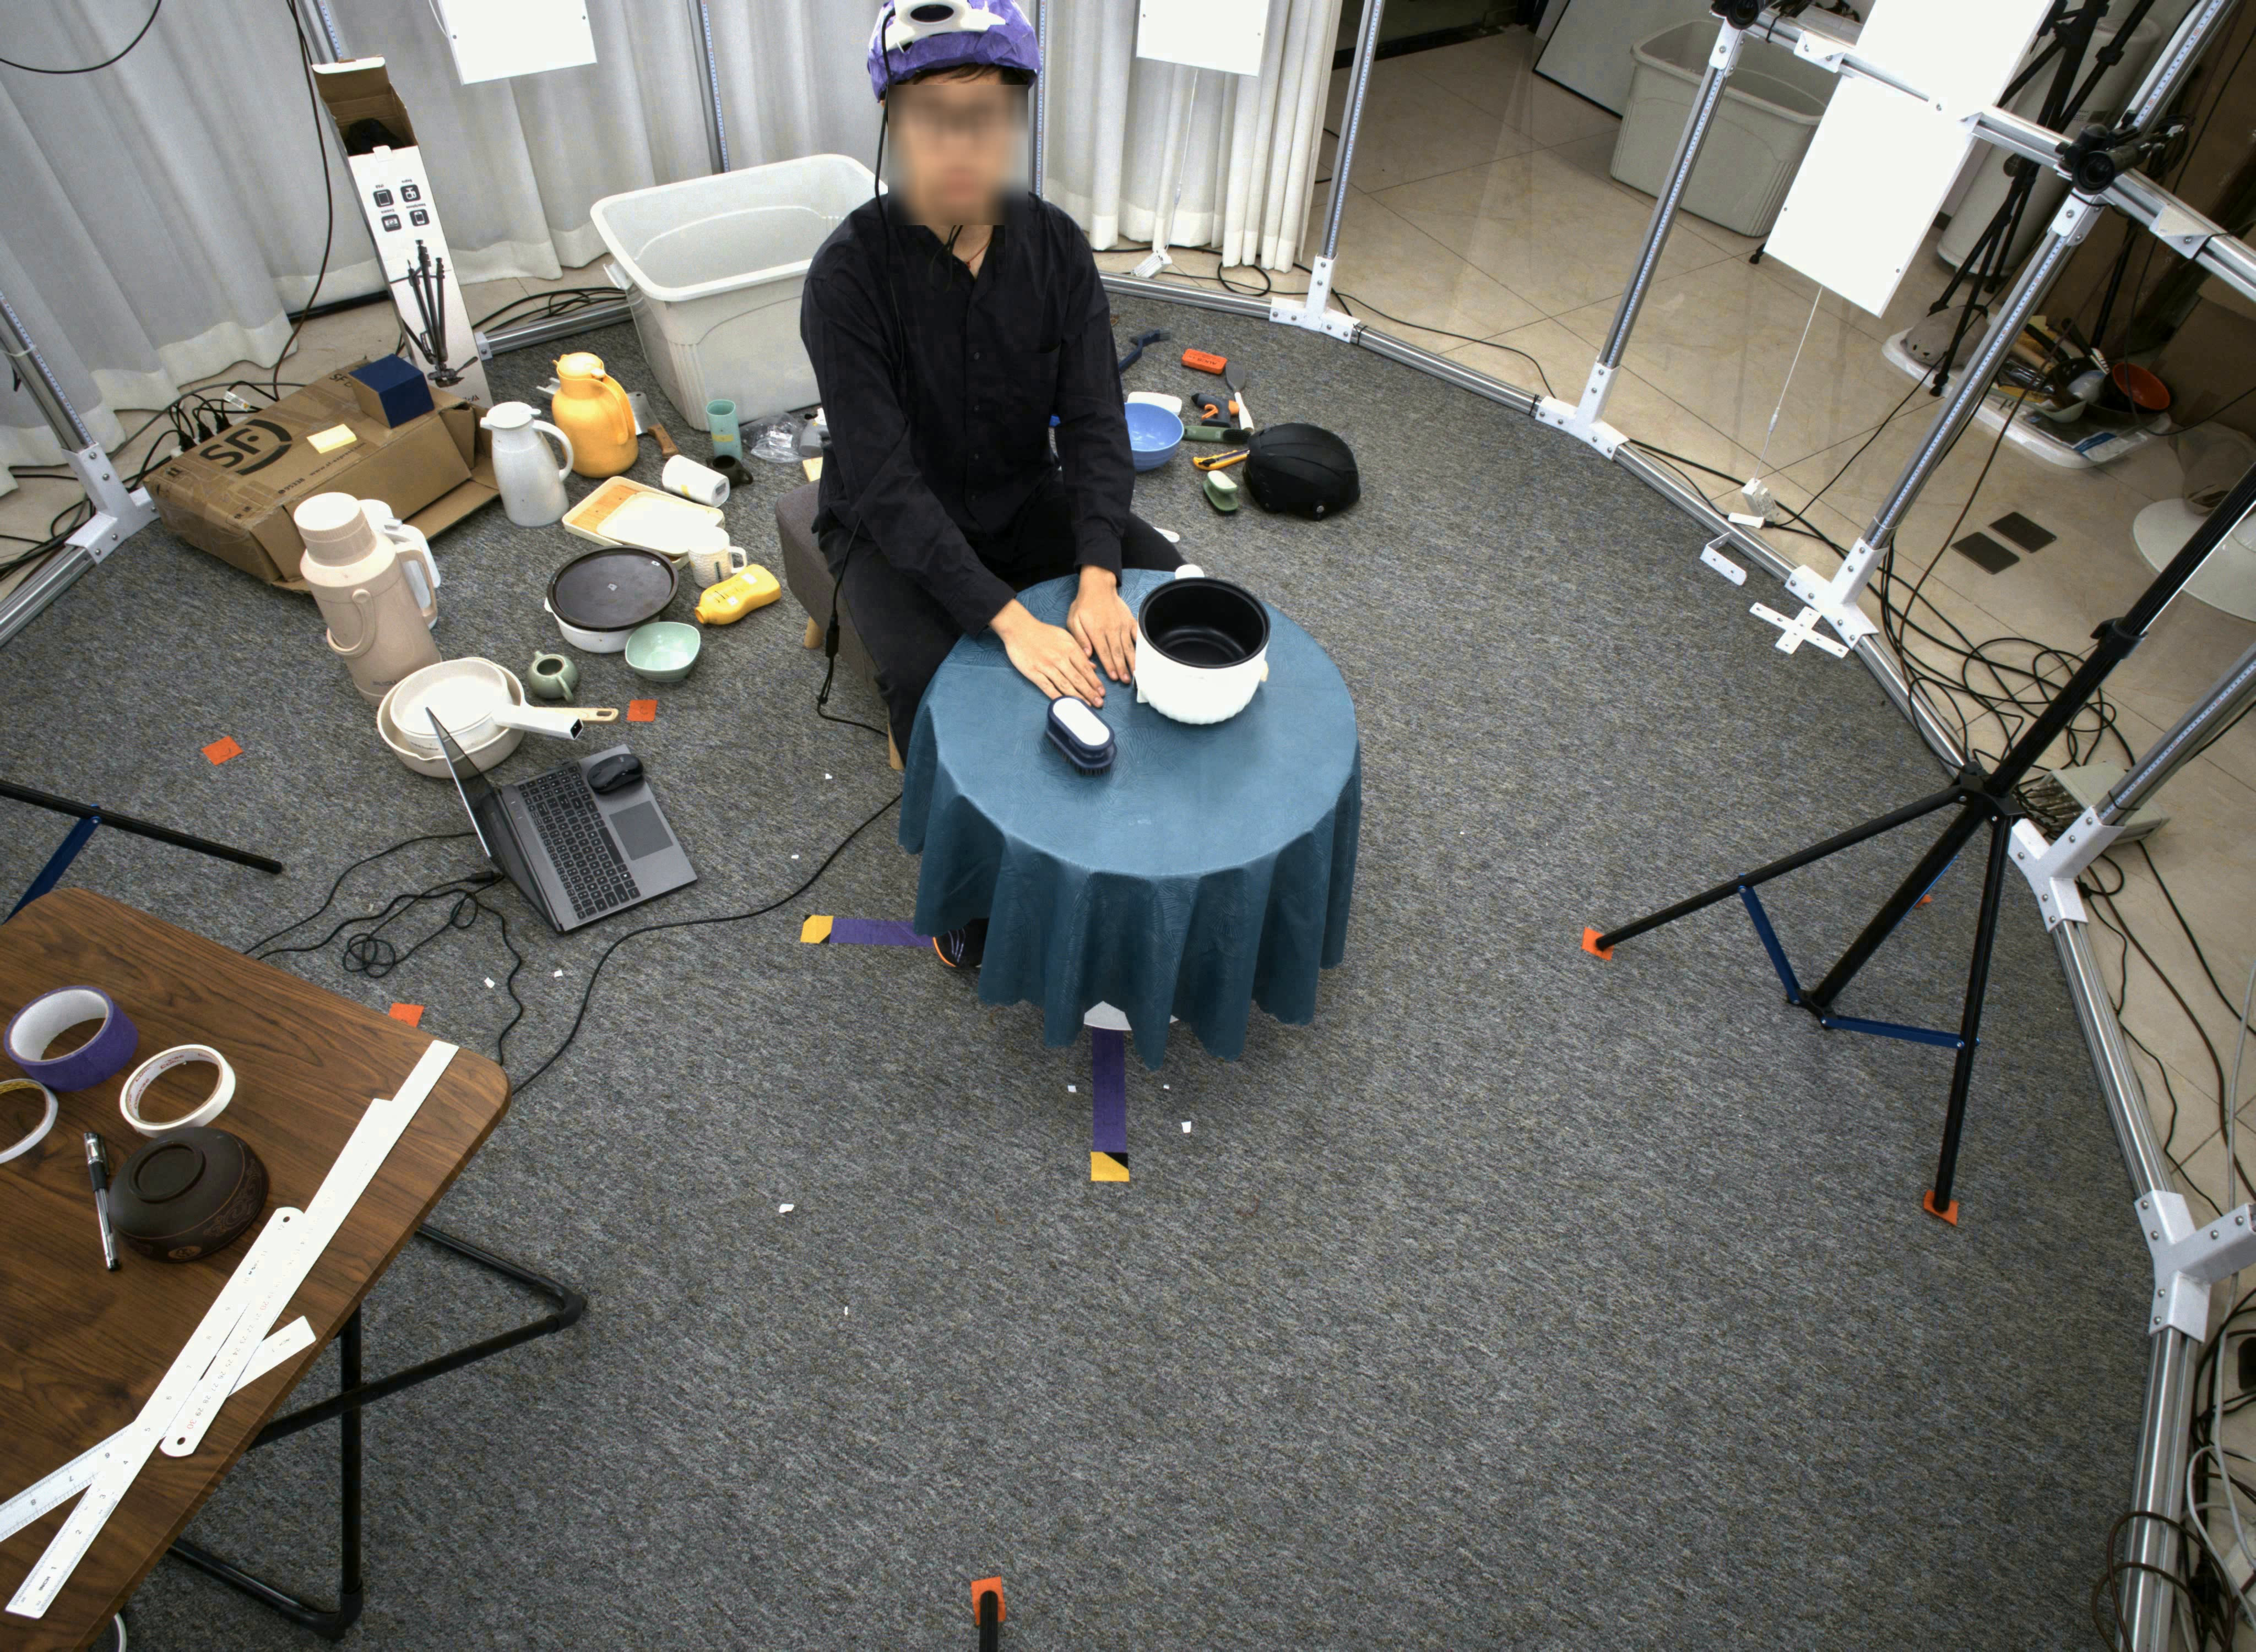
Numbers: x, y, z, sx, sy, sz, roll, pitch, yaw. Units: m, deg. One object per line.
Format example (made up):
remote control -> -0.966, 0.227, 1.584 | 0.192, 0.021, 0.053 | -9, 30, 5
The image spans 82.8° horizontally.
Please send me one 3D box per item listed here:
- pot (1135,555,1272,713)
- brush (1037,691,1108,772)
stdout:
pot -> 0.107, -0.256, 1.801 | 0.190, 0.139, 0.246 | -8, 52, -8
brush -> -0.076, -0.127, 1.741 | 0.068, 0.060, 0.124 | -27, 60, -21
